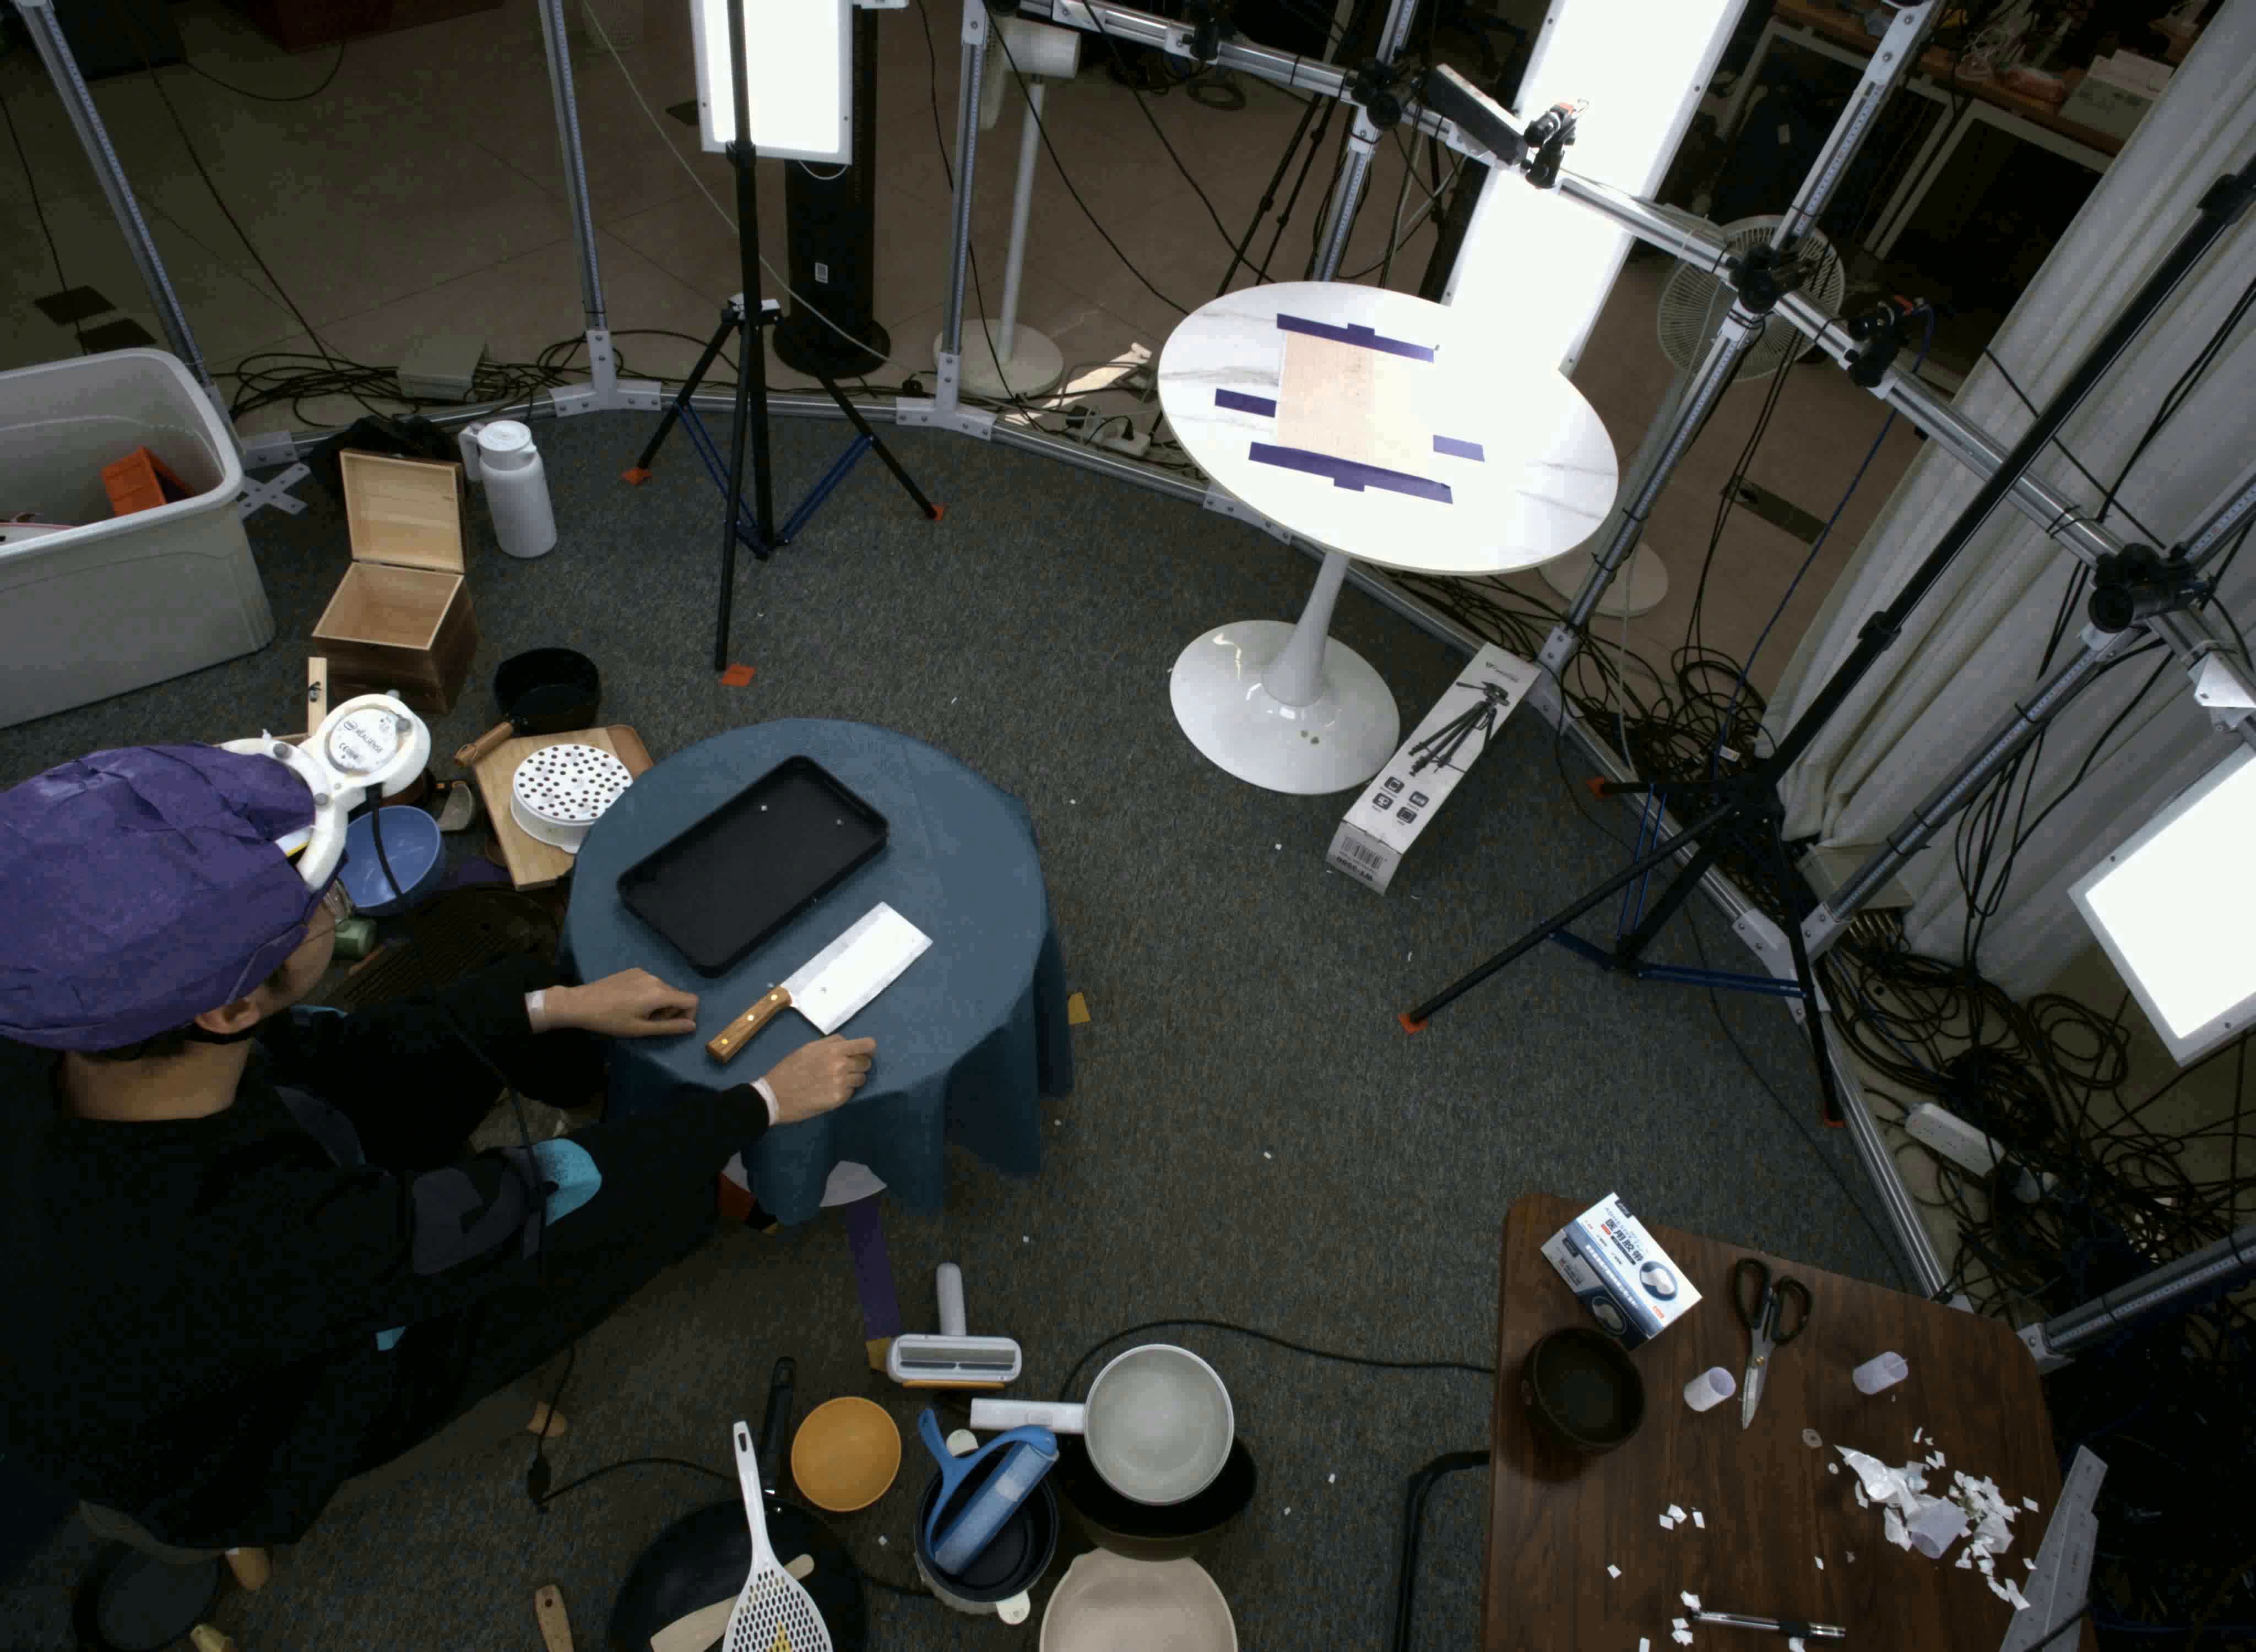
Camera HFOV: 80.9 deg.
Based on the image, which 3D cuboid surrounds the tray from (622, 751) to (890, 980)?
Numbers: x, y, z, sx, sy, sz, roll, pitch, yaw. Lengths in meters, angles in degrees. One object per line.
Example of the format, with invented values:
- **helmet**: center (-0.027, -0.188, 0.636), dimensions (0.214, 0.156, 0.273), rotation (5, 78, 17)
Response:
- **tray**: center (-0.469, 0.041, 1.647), dimensions (0.181, 0.038, 0.318), rotation (36, 53, 12)

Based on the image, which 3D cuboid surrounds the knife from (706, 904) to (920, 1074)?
- **knife**: center (-0.370, 0.202, 1.567), dimensions (0.091, 0.021, 0.306), rotation (37, 51, 12)
